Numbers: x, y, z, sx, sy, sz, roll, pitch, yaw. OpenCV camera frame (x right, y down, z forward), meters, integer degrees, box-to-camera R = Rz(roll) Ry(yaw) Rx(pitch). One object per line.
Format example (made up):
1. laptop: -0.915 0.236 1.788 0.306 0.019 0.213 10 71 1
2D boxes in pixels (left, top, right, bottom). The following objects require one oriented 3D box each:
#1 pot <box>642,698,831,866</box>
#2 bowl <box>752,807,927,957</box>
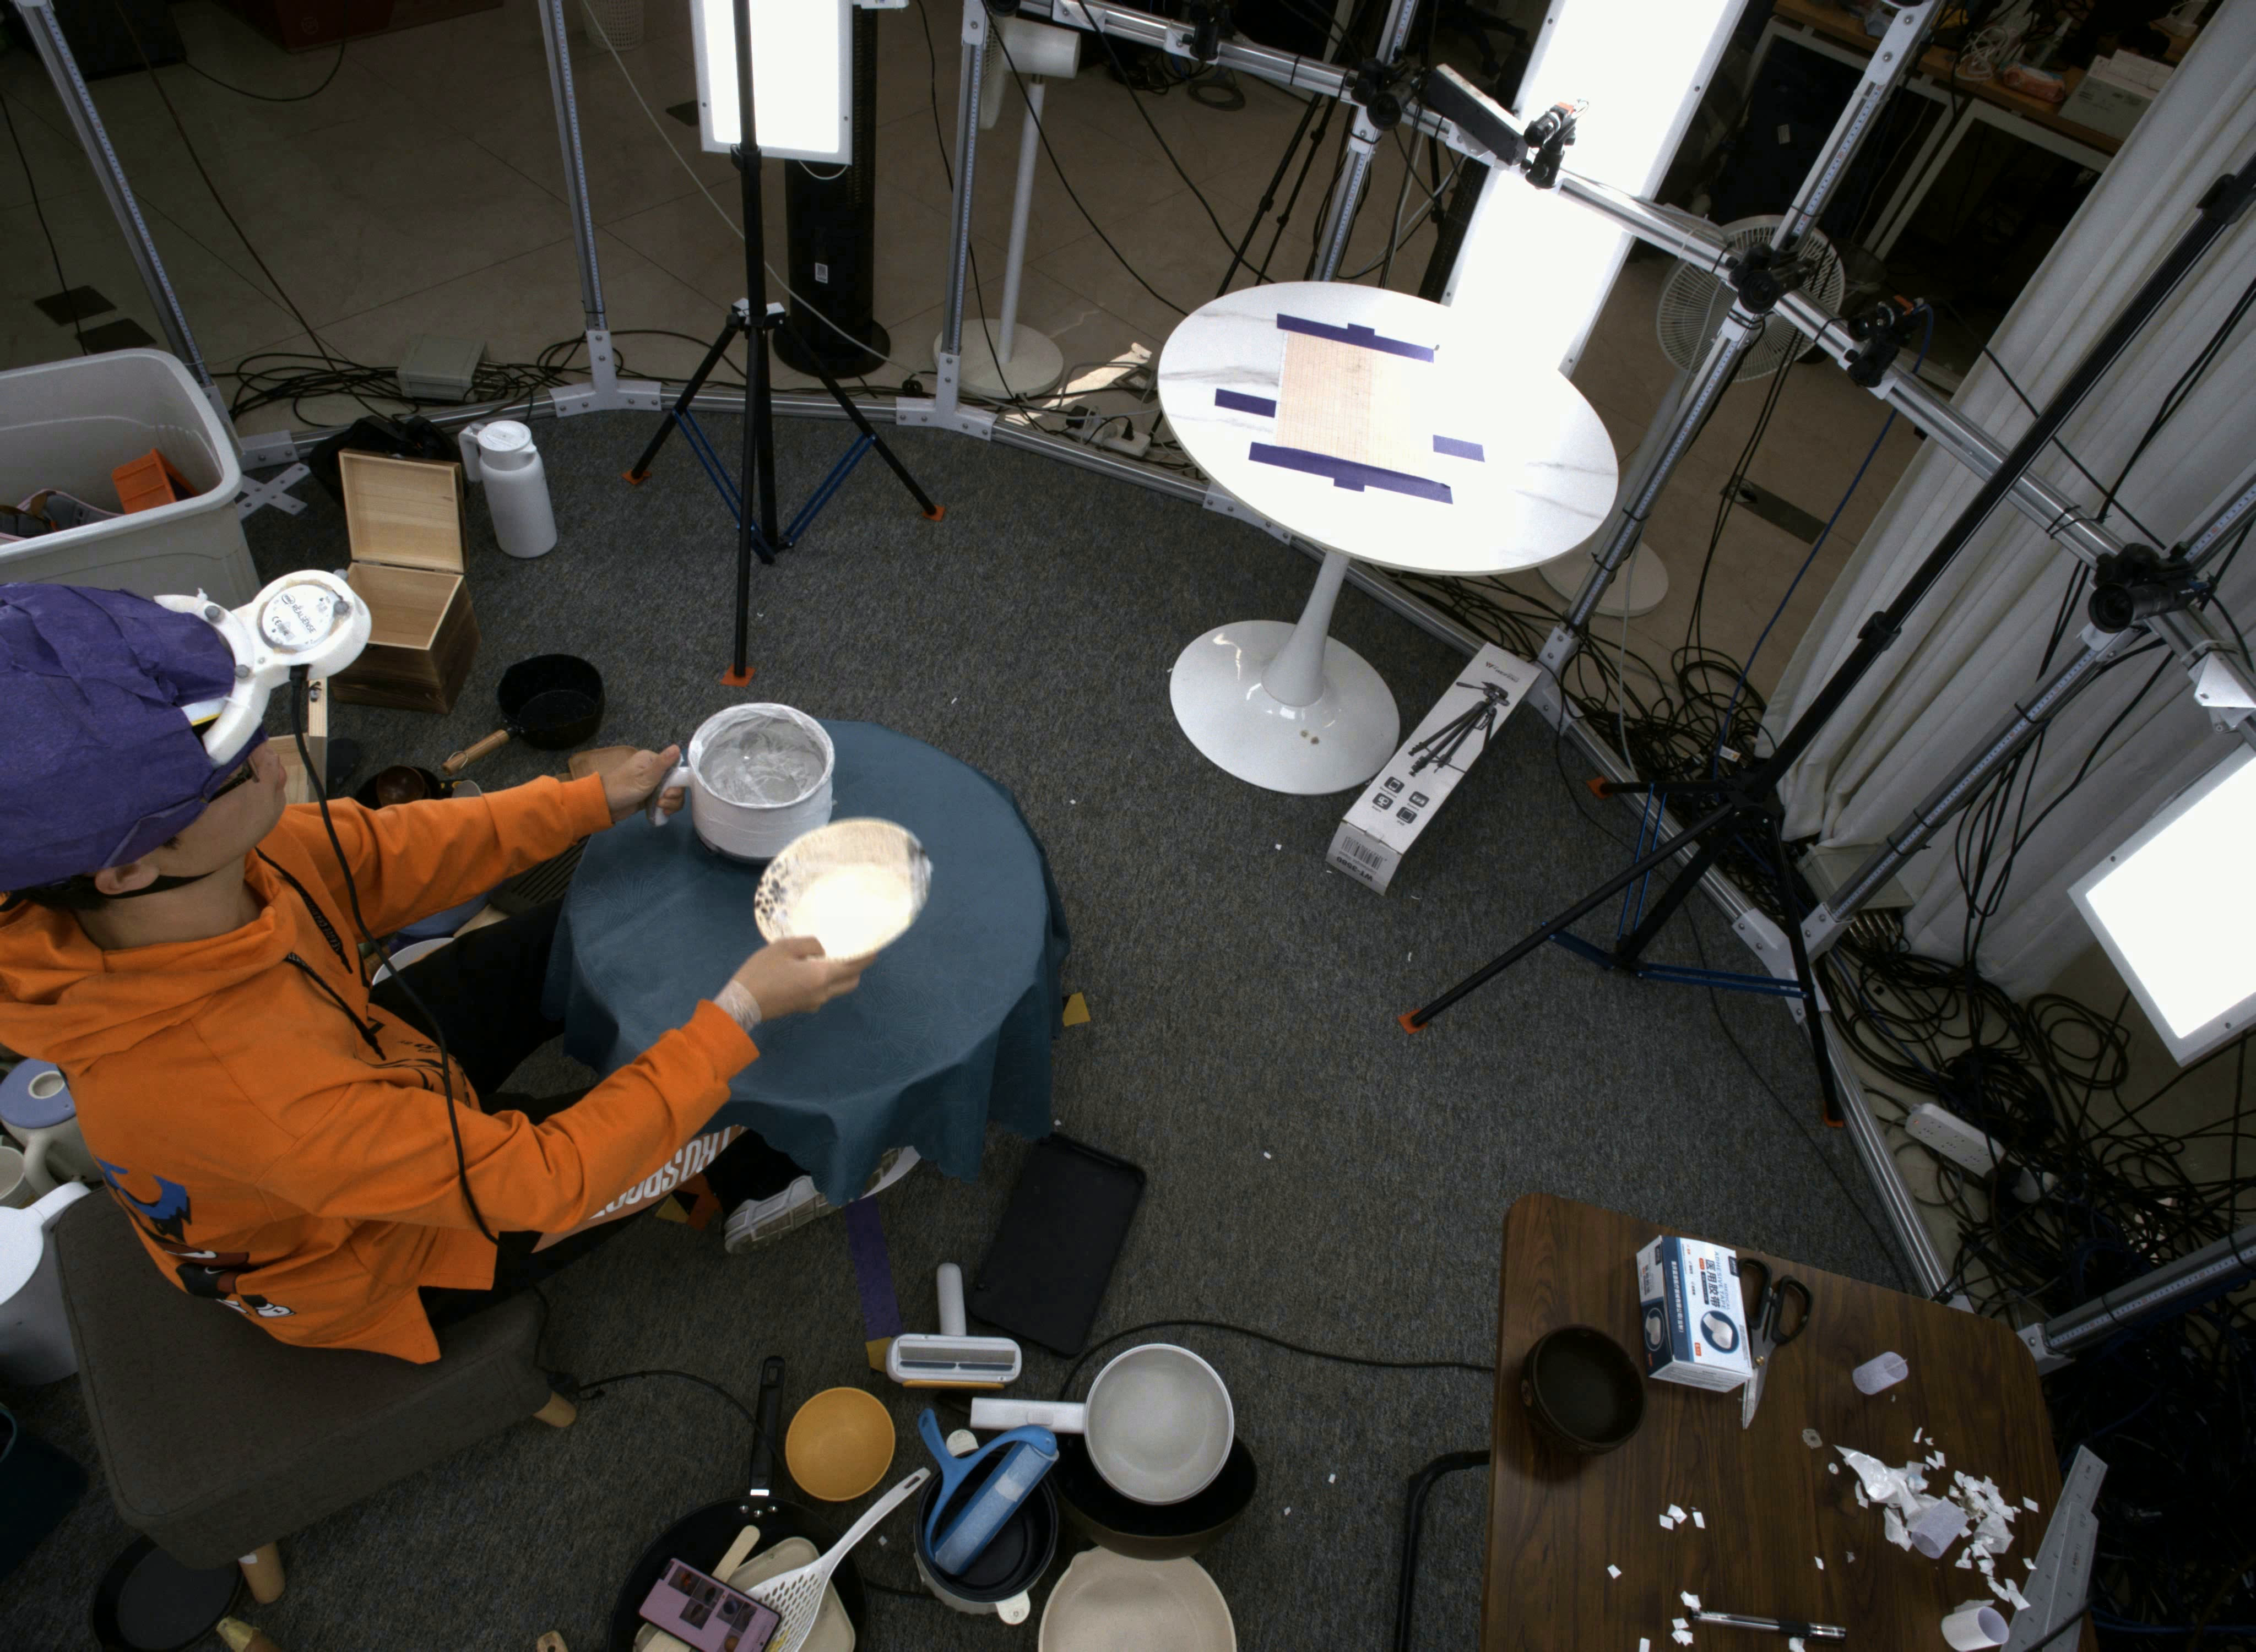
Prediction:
1. pot: -0.491 -0.049 1.617 0.235 0.139 0.174 -5 52 -21
2. bowl: -0.312 0.079 1.458 0.200 0.081 0.200 -5 52 8
